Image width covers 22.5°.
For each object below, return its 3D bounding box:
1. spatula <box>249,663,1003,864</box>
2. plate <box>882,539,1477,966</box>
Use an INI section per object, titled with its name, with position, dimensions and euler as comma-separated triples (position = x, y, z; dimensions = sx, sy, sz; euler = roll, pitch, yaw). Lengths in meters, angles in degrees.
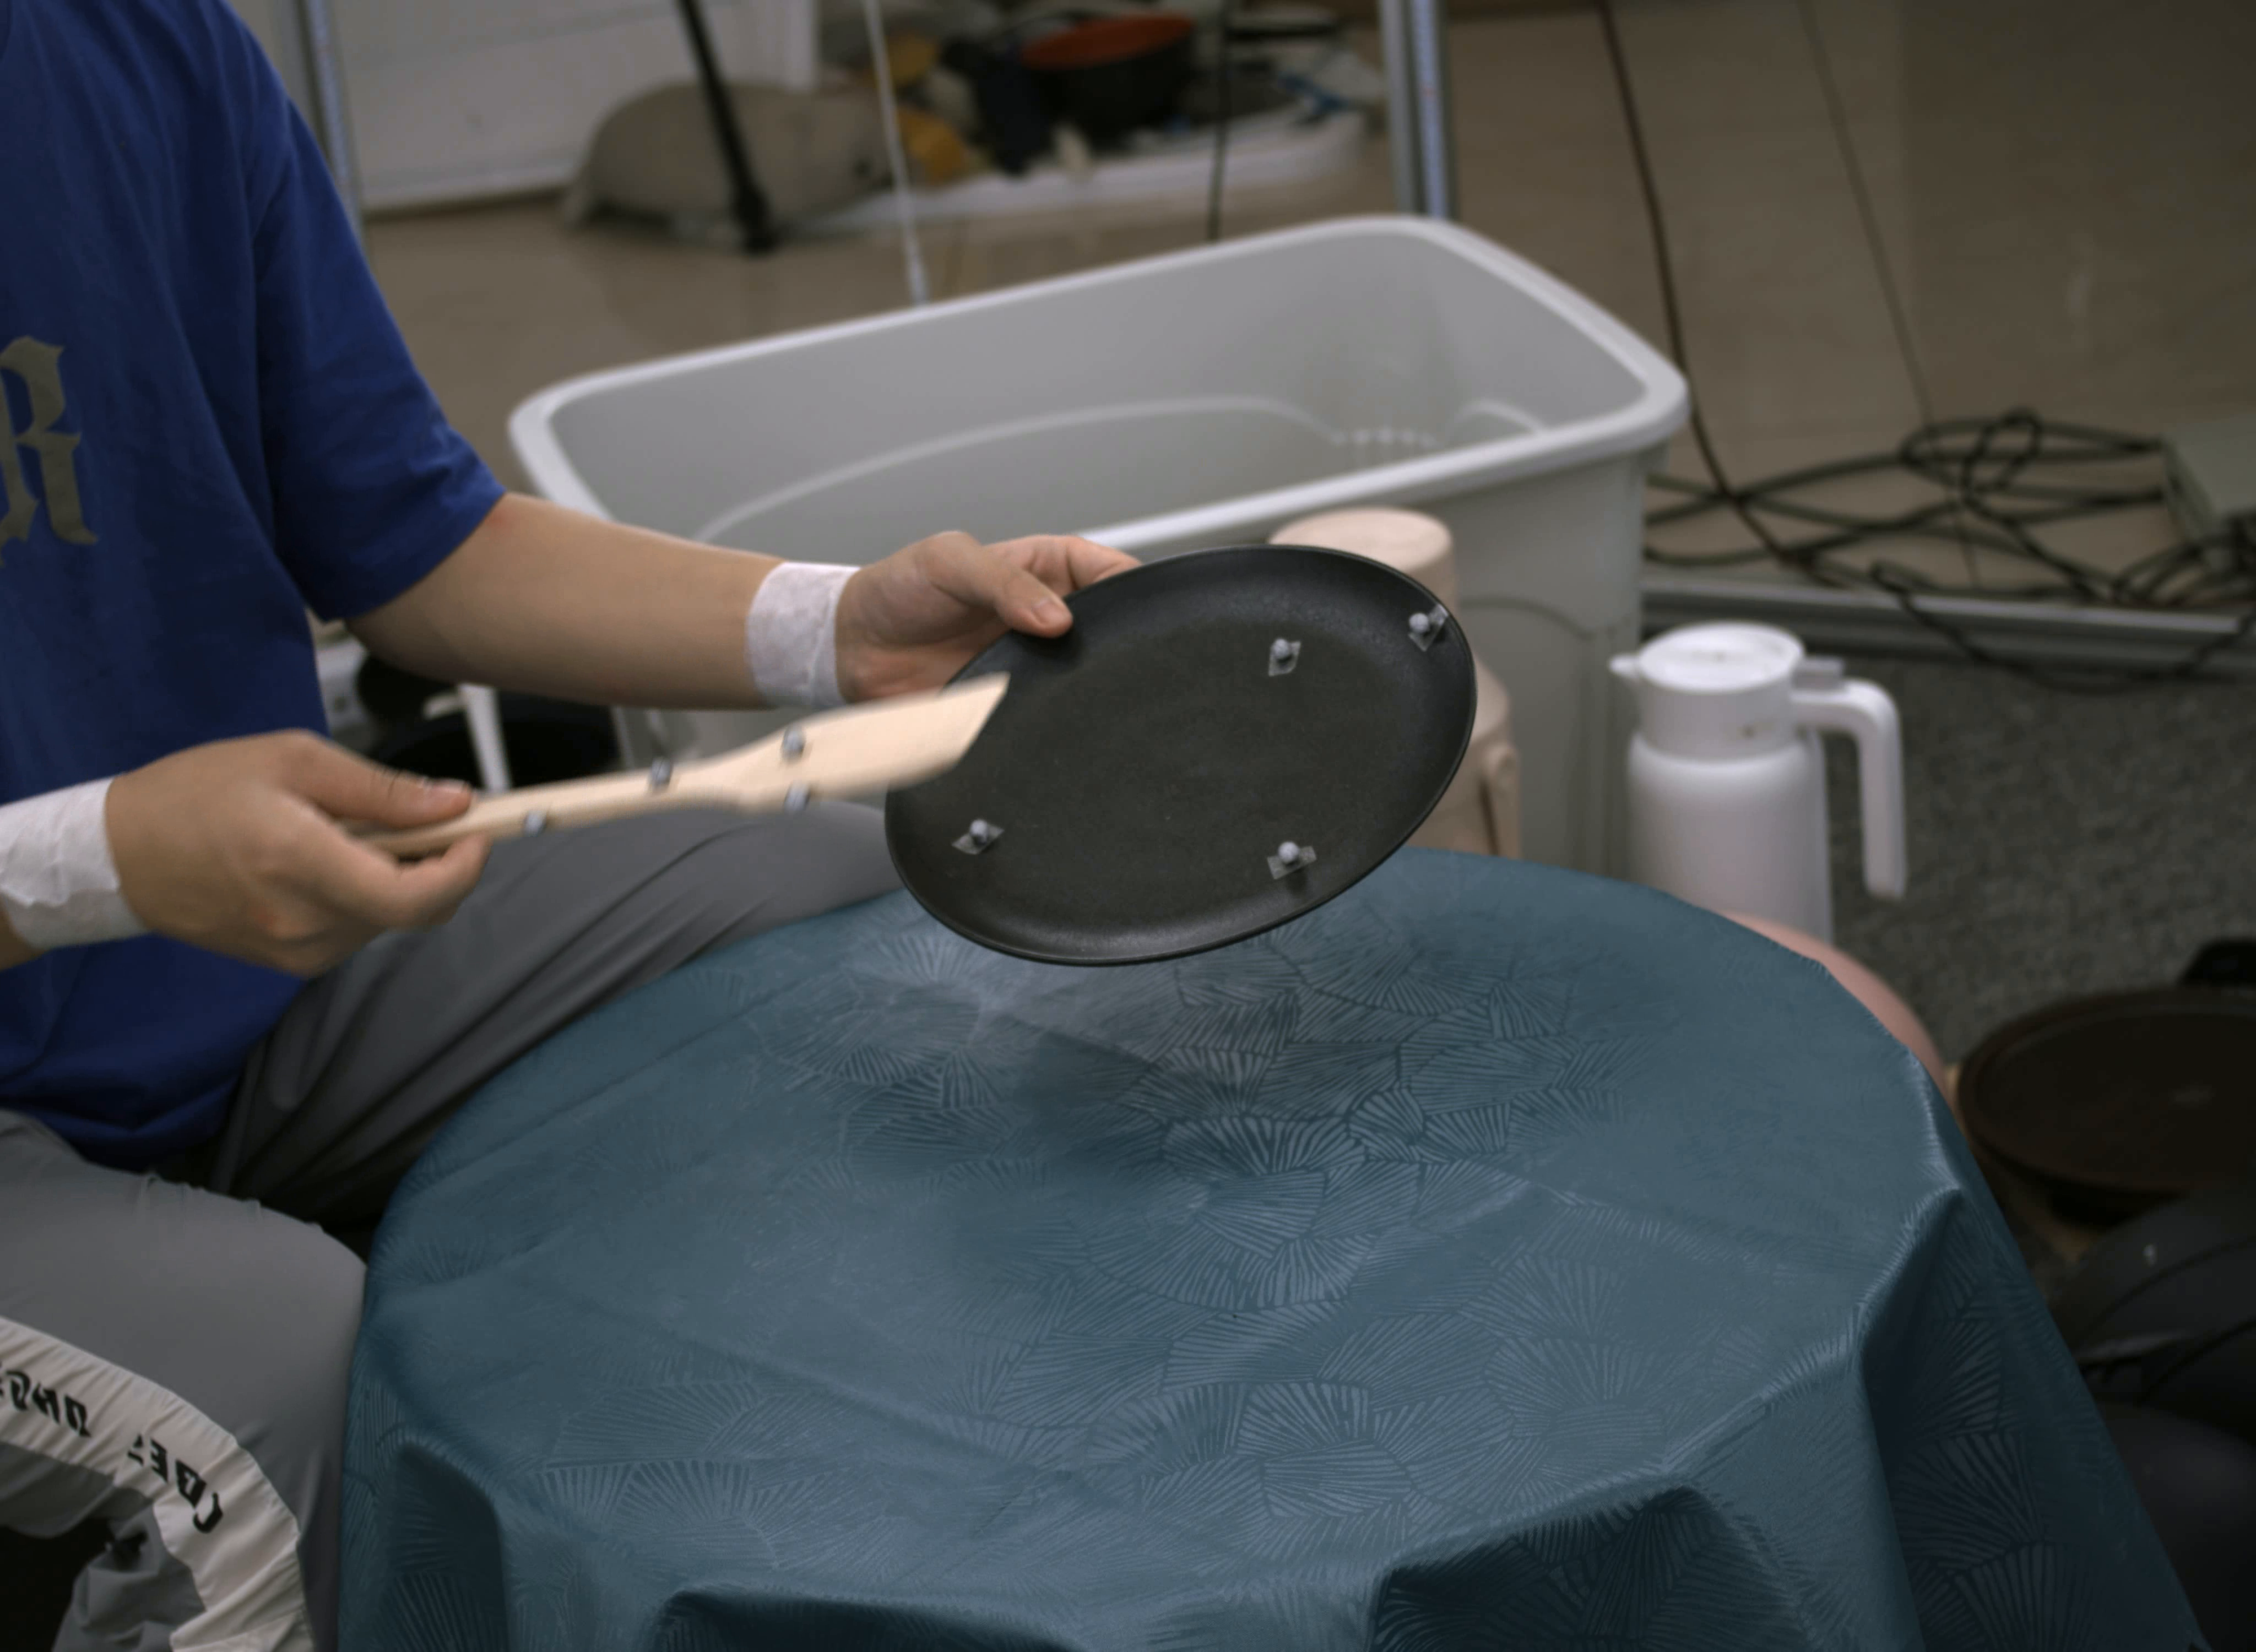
[spatula]
position = -0.186, -0.017, 2.032
dimensions = 0.293, 0.011, 0.071
euler = -10, 22, 19
[plate]
position = 0.021, -0.025, 2.231
dimensions = 0.244, 0.024, 0.240
euler = -12, 41, 11
